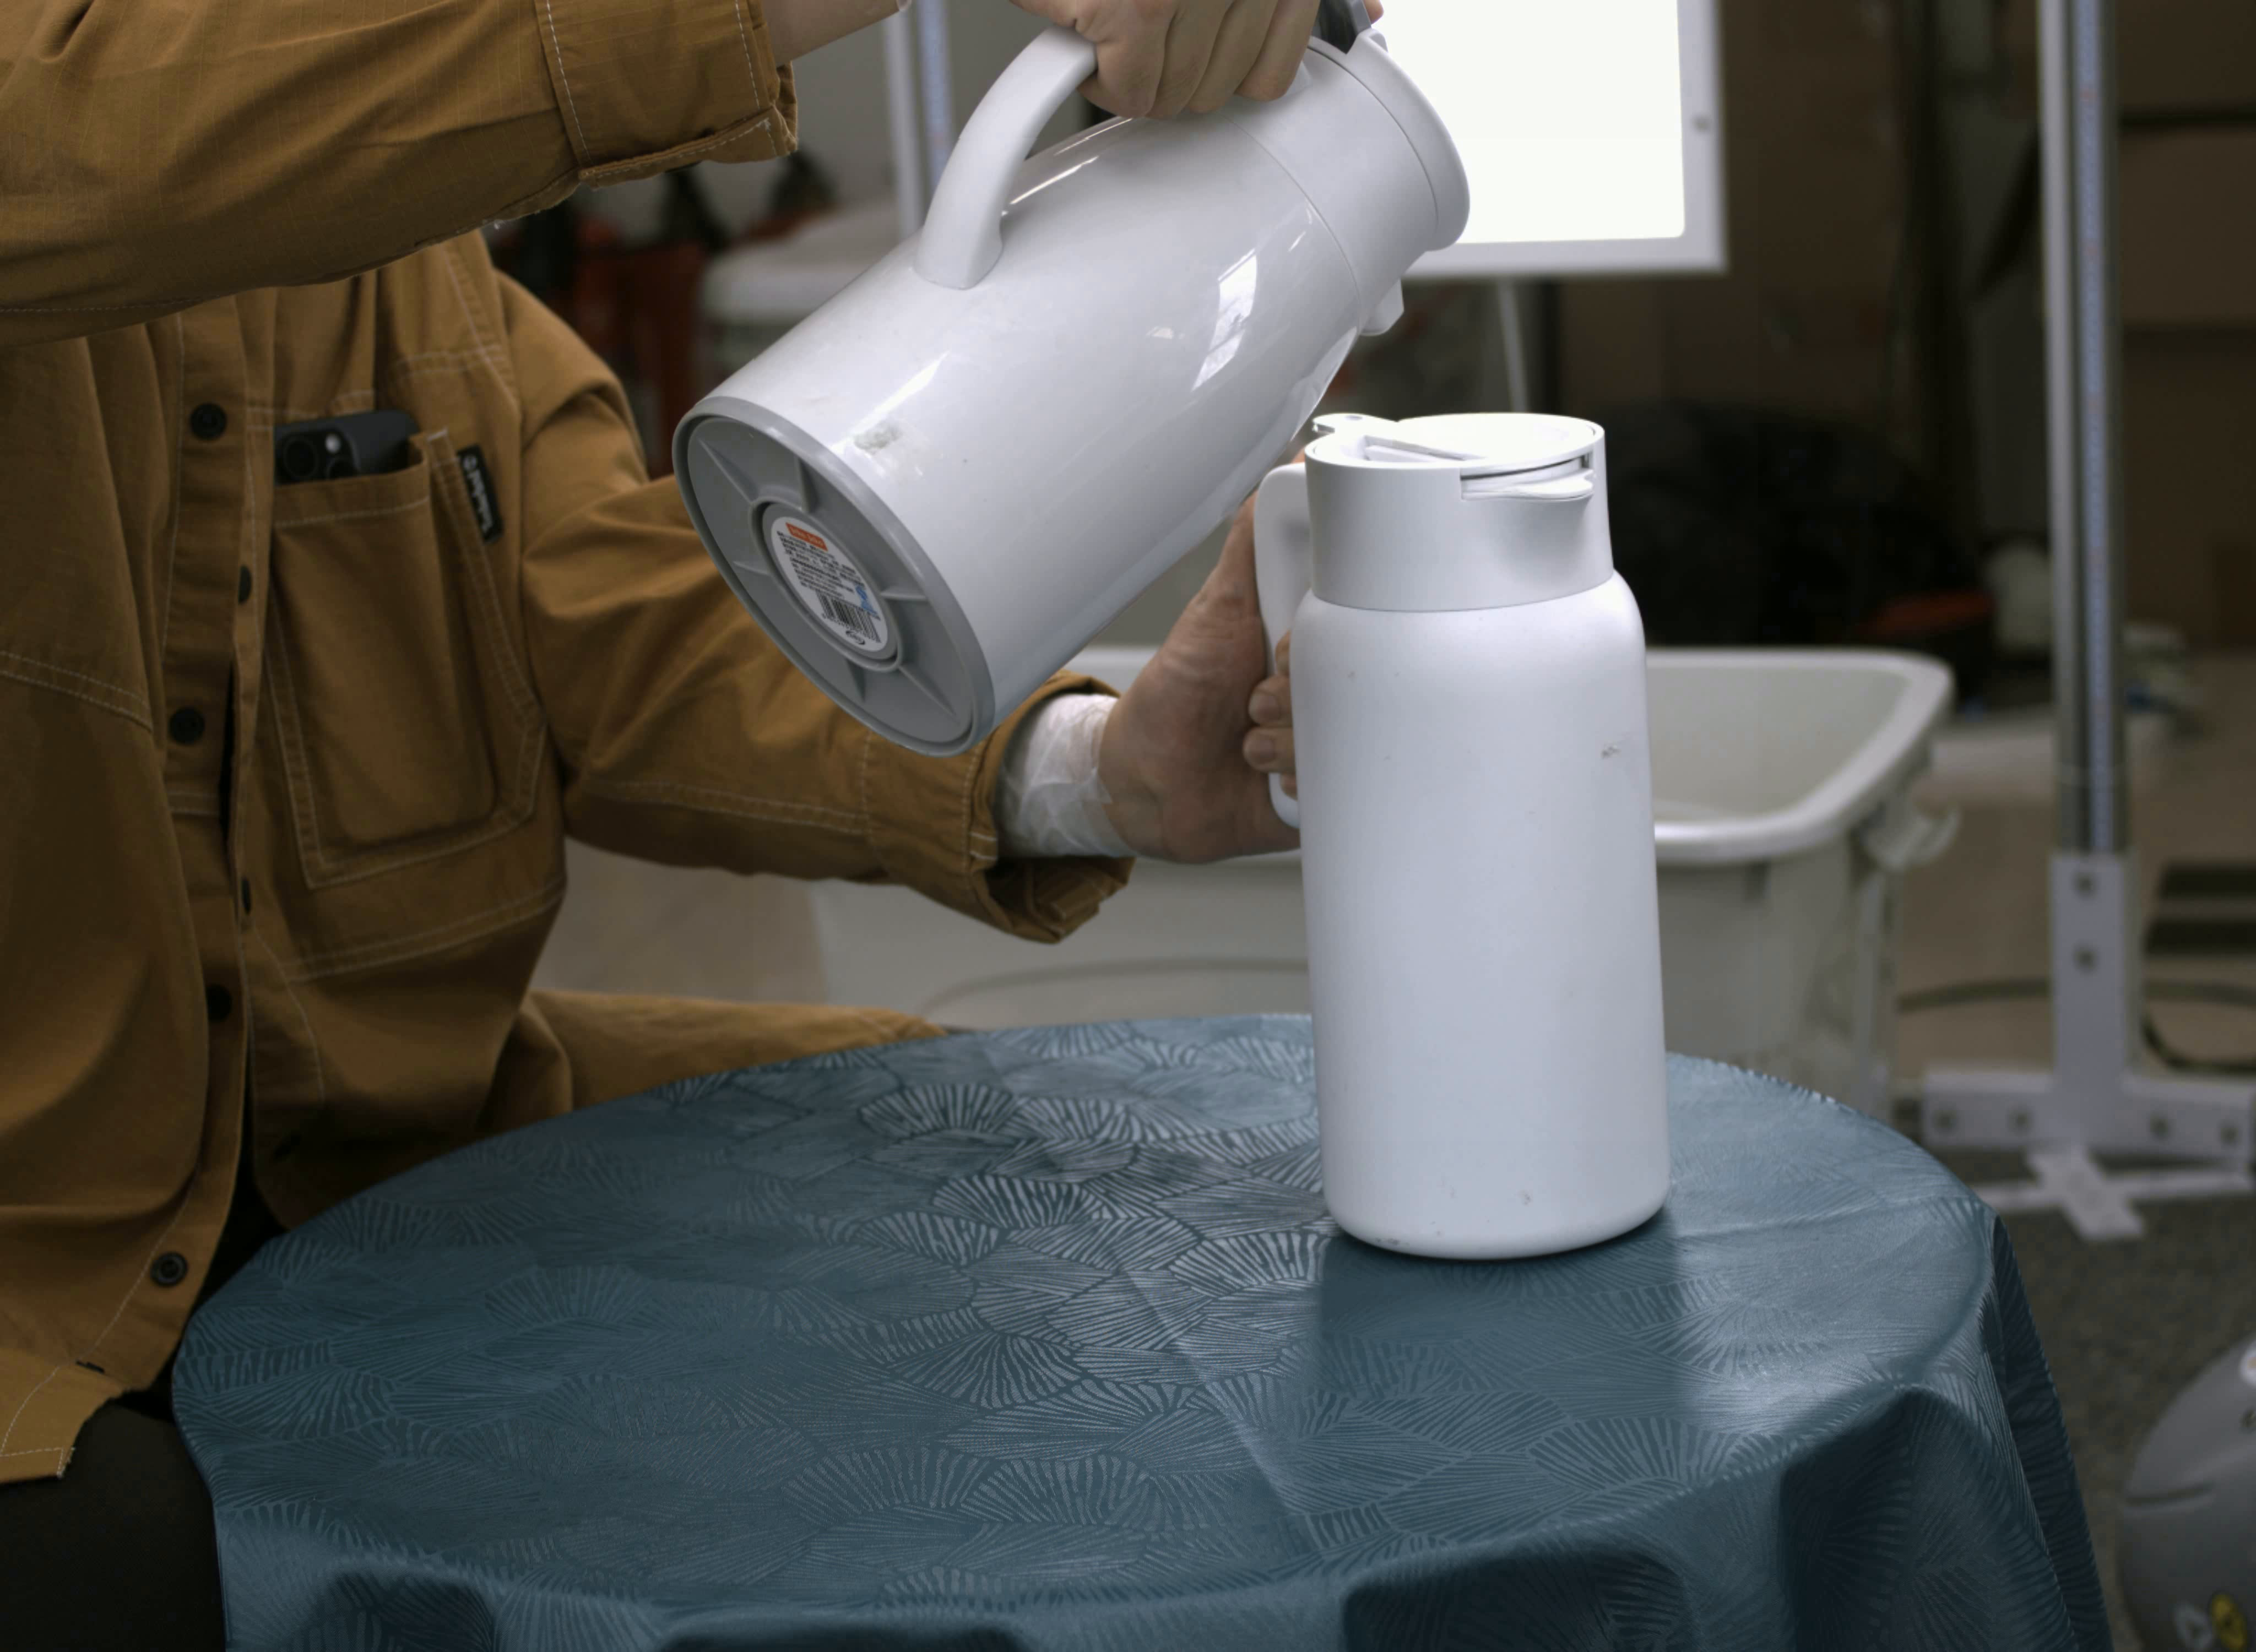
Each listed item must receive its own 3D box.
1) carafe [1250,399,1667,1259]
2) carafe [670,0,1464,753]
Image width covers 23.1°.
[{"bbox_3d":[0.104,-0.002,1.822,0.121,0.270,0.176,-15,17,-29],"label":"carafe"},{"bbox_3d":[-0.011,-0.162,1.676,0.245,0.167,0.135,-42,45,-20],"label":"carafe"}]
